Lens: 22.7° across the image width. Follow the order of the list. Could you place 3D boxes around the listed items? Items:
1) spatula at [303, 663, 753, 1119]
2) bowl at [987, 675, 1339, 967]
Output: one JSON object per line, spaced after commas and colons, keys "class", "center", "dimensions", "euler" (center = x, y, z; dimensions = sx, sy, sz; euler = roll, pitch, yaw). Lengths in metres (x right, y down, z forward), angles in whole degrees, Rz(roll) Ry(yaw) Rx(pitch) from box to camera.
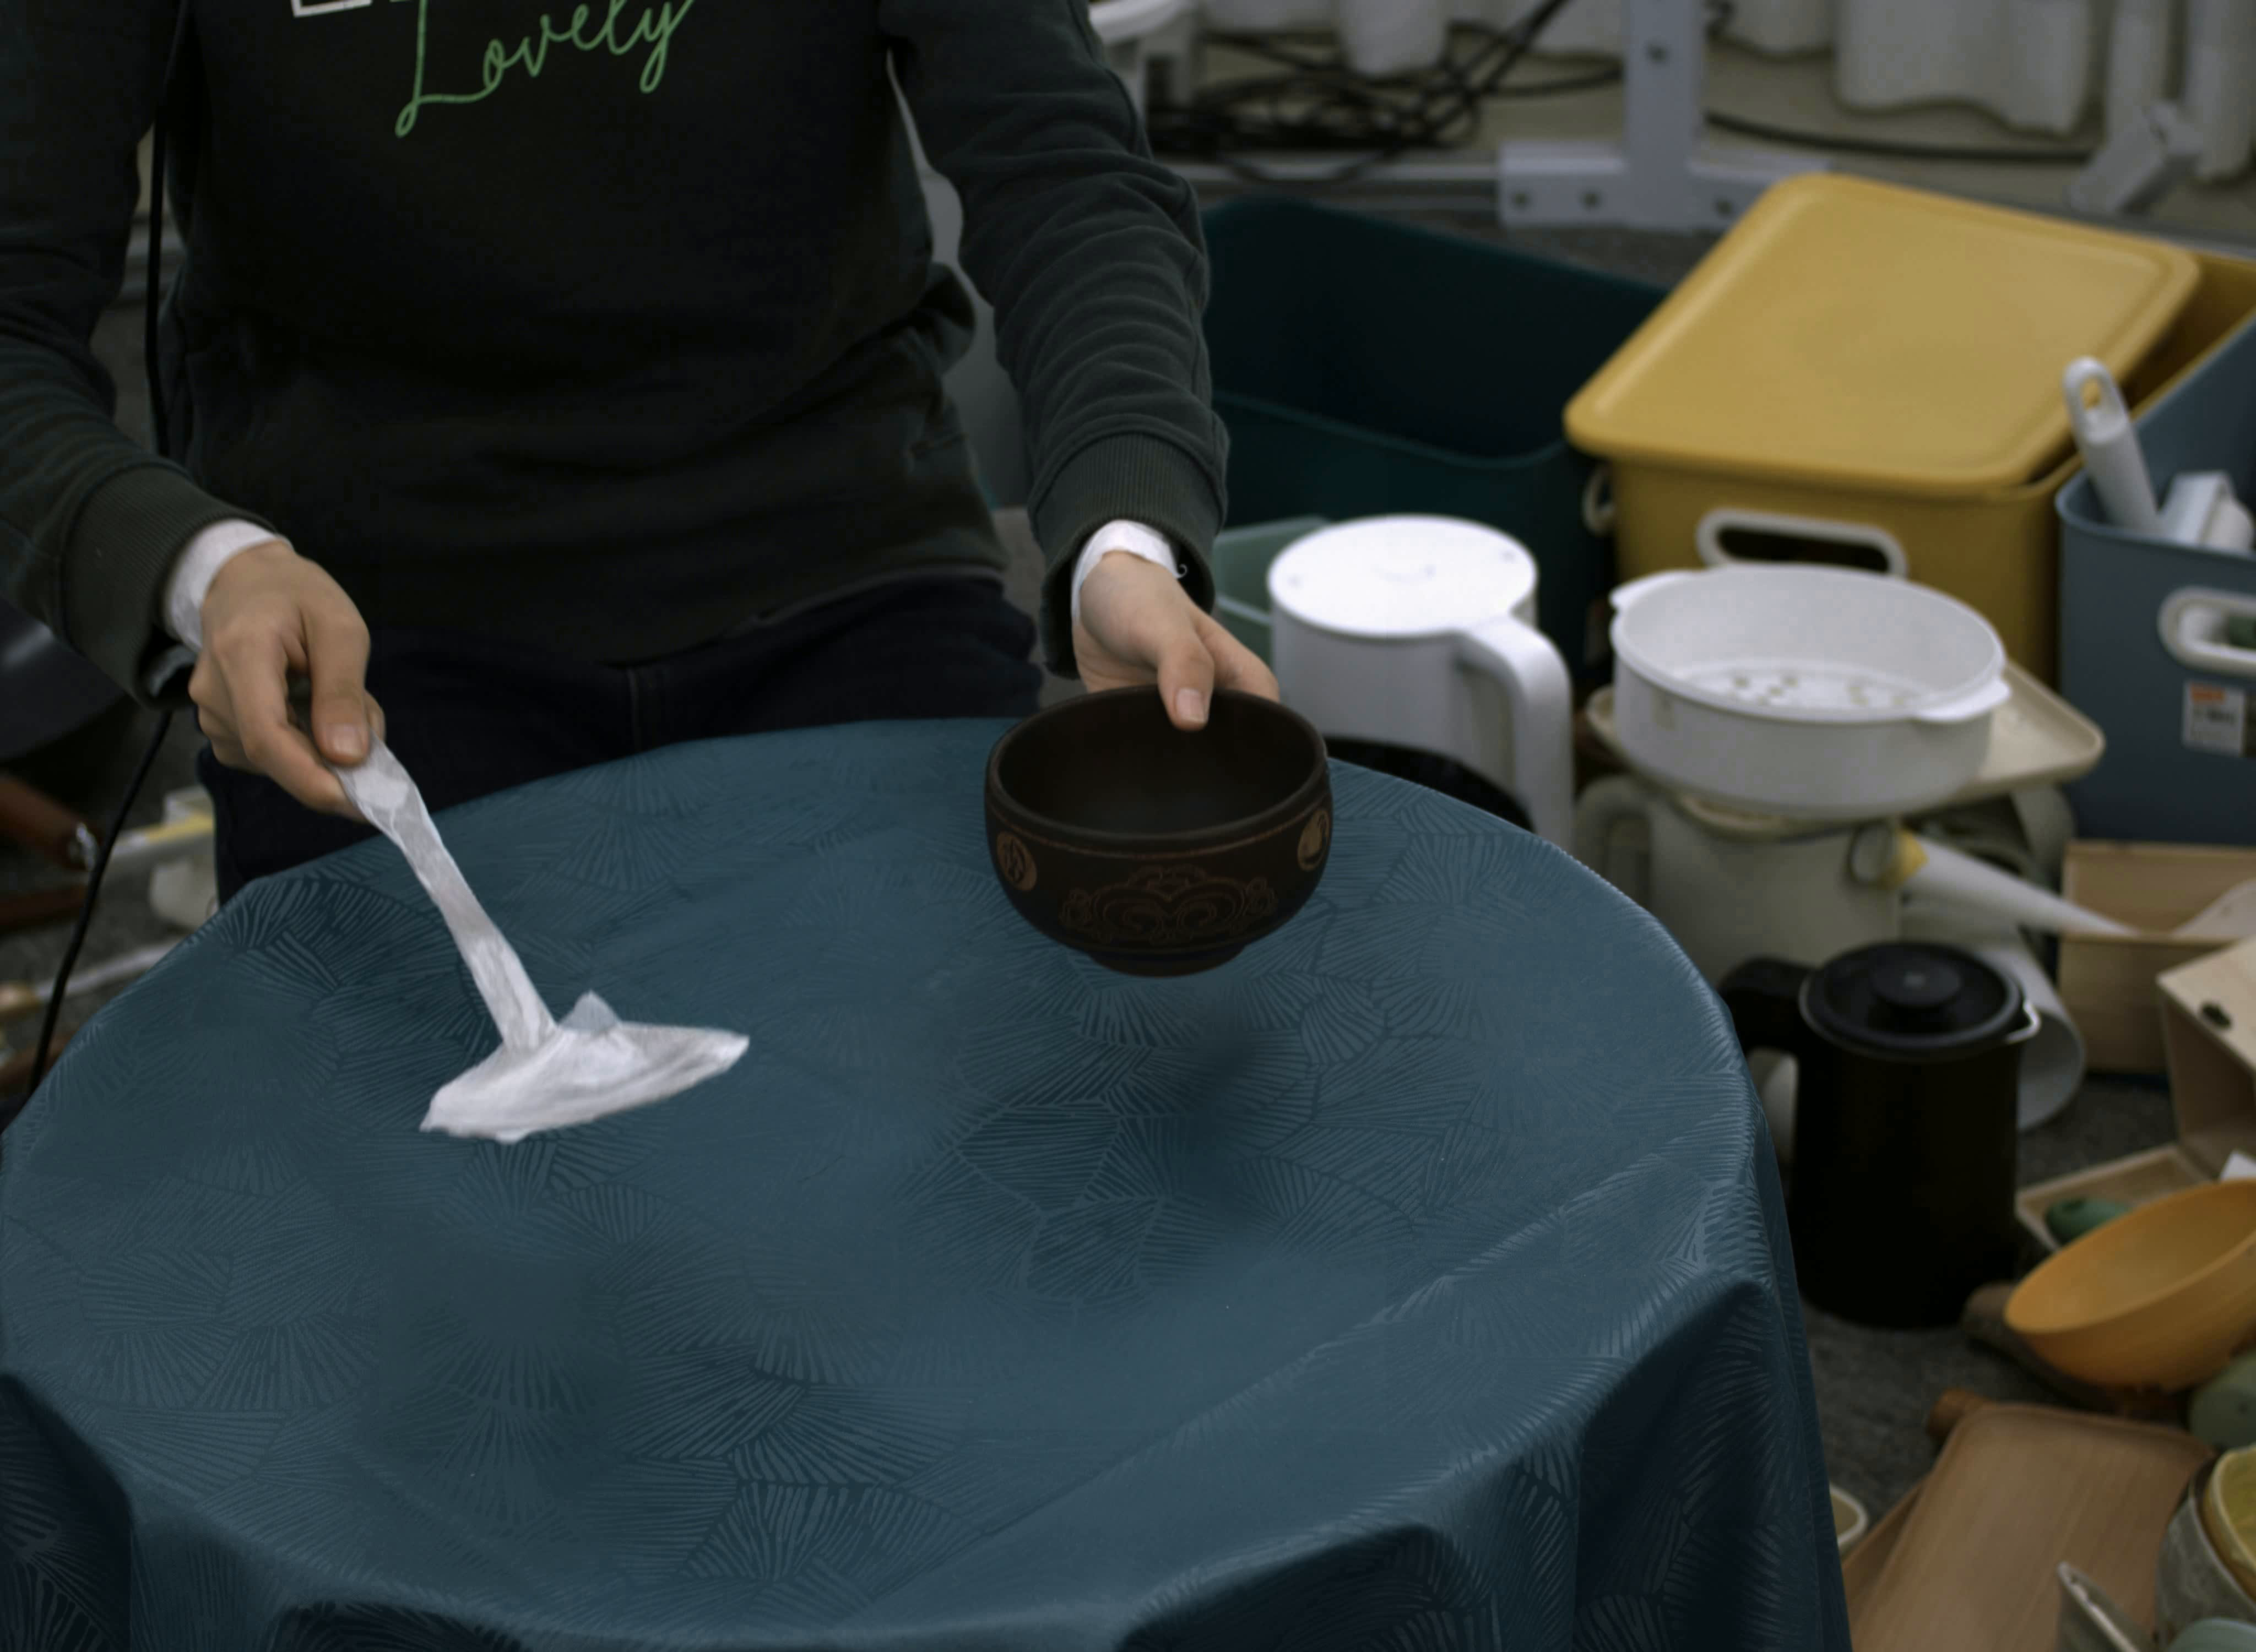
{"class": "spatula", "center": [-0.220, 0.012, 1.847], "dimensions": [0.099, 0.044, 0.368], "euler": [-18, 34, -16]}
{"class": "bowl", "center": [0.012, 0.004, 1.883], "dimensions": [0.117, 0.069, 0.120], "euler": [-1, 25, 1]}
